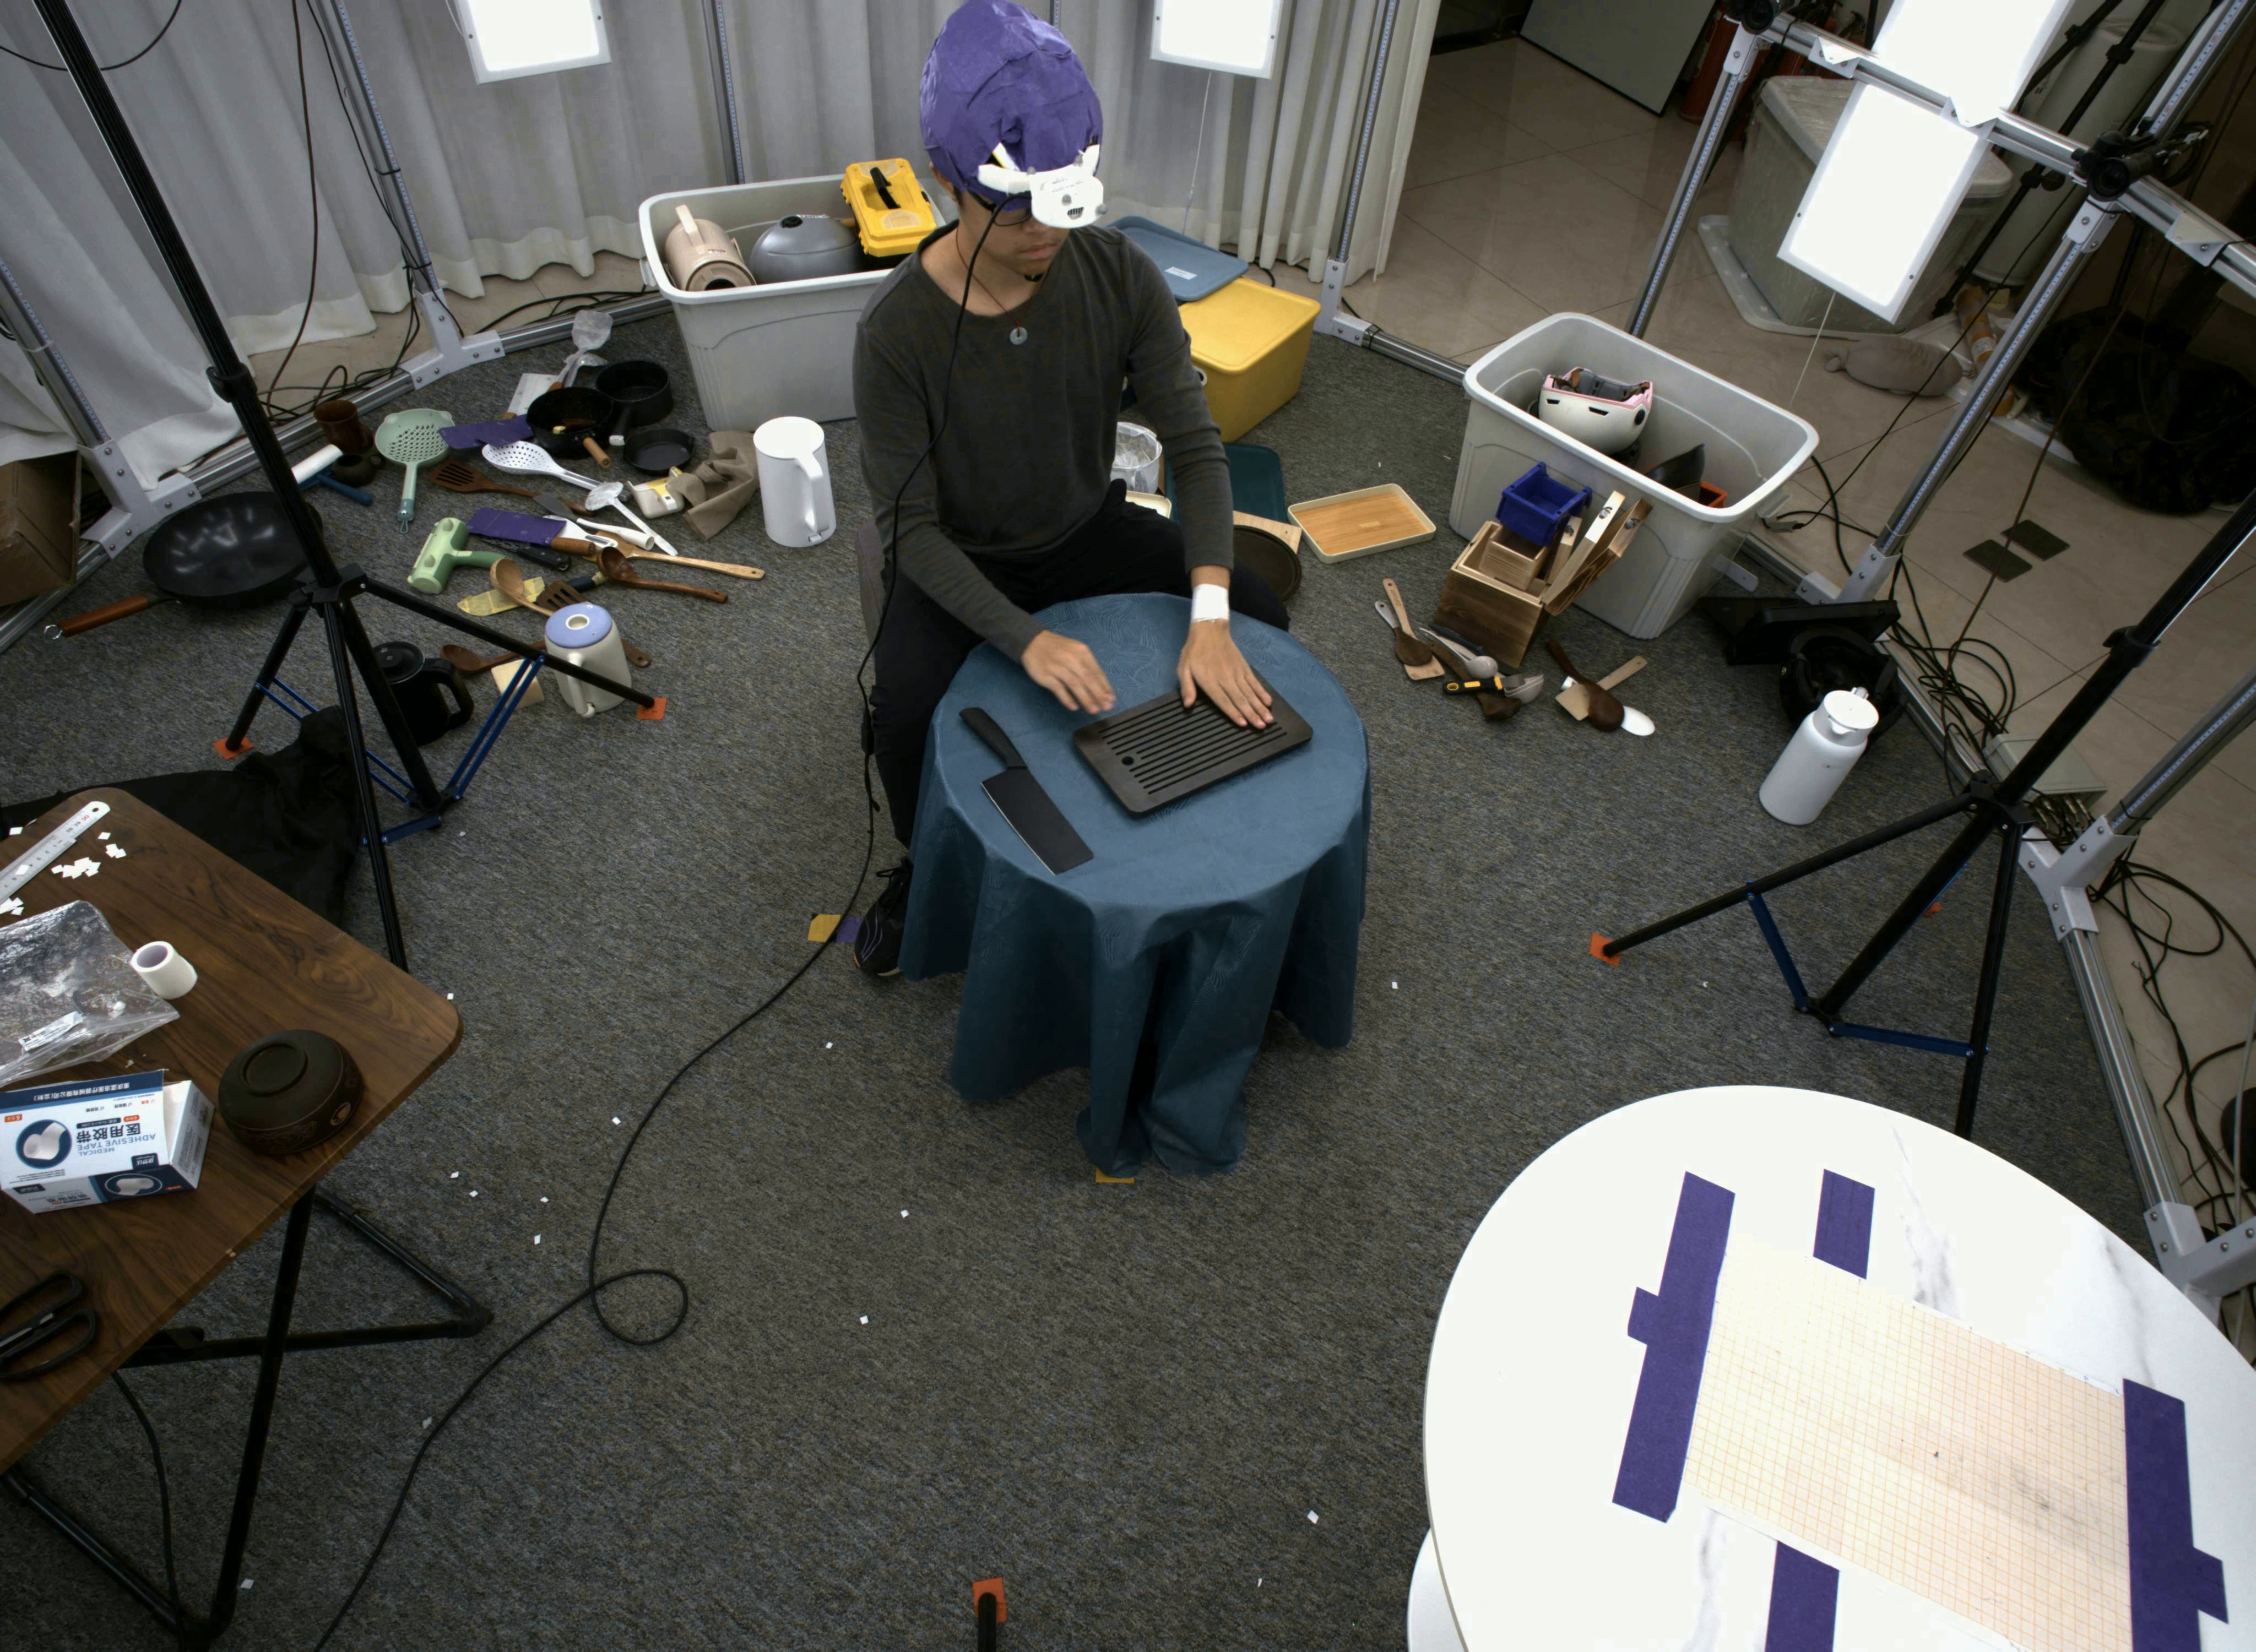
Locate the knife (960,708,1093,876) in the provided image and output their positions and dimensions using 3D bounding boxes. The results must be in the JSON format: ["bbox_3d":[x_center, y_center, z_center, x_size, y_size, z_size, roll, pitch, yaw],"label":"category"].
[{"bbox_3d":[-0.147,-0.052,1.694,0.081,0.020,0.309,-21,56,-19],"label":"knife"}]

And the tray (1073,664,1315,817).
[{"bbox_3d":[0.092,-0.121,1.766,0.307,0.018,0.173,-24,54,-23],"label":"tray"}]
